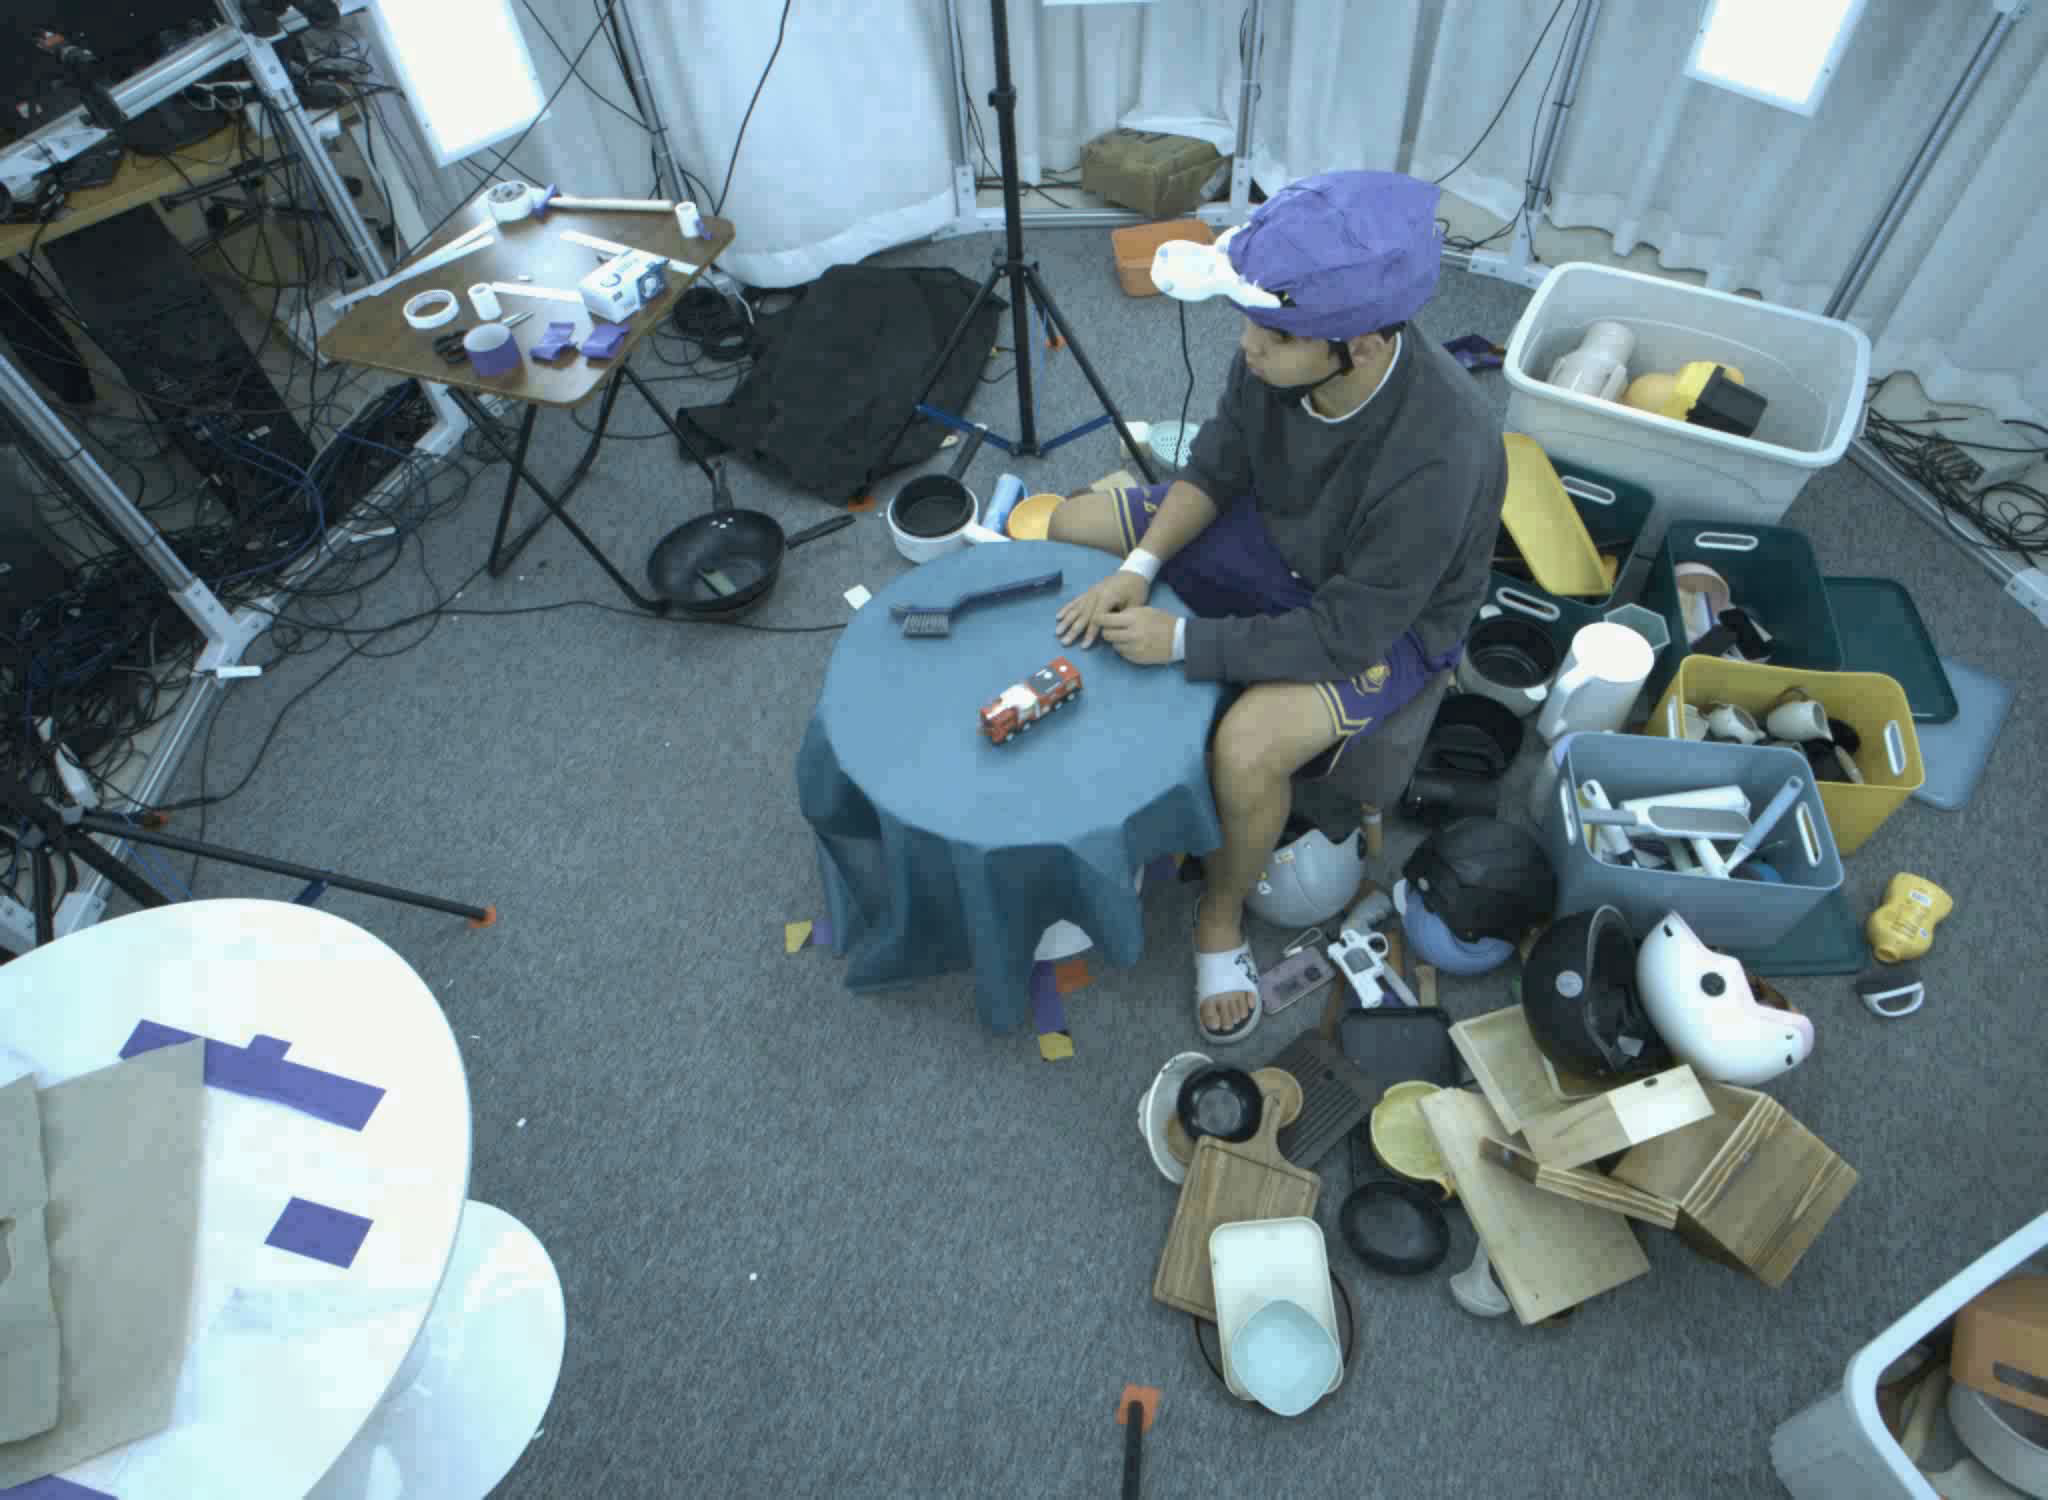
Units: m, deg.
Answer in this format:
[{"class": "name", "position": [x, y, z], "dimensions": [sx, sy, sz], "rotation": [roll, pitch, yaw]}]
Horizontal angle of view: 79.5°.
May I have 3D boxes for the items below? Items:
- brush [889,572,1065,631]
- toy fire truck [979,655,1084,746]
[{"class": "brush", "position": [-0.073, -0.248, 1.949], "dimensions": [0.275, 0.034, 0.094], "rotation": [-20, 56, -11]}, {"class": "toy fire truck", "position": [0.010, -0.073, 1.805], "dimensions": [0.169, 0.071, 0.053], "rotation": [-34, 59, -21]}]
